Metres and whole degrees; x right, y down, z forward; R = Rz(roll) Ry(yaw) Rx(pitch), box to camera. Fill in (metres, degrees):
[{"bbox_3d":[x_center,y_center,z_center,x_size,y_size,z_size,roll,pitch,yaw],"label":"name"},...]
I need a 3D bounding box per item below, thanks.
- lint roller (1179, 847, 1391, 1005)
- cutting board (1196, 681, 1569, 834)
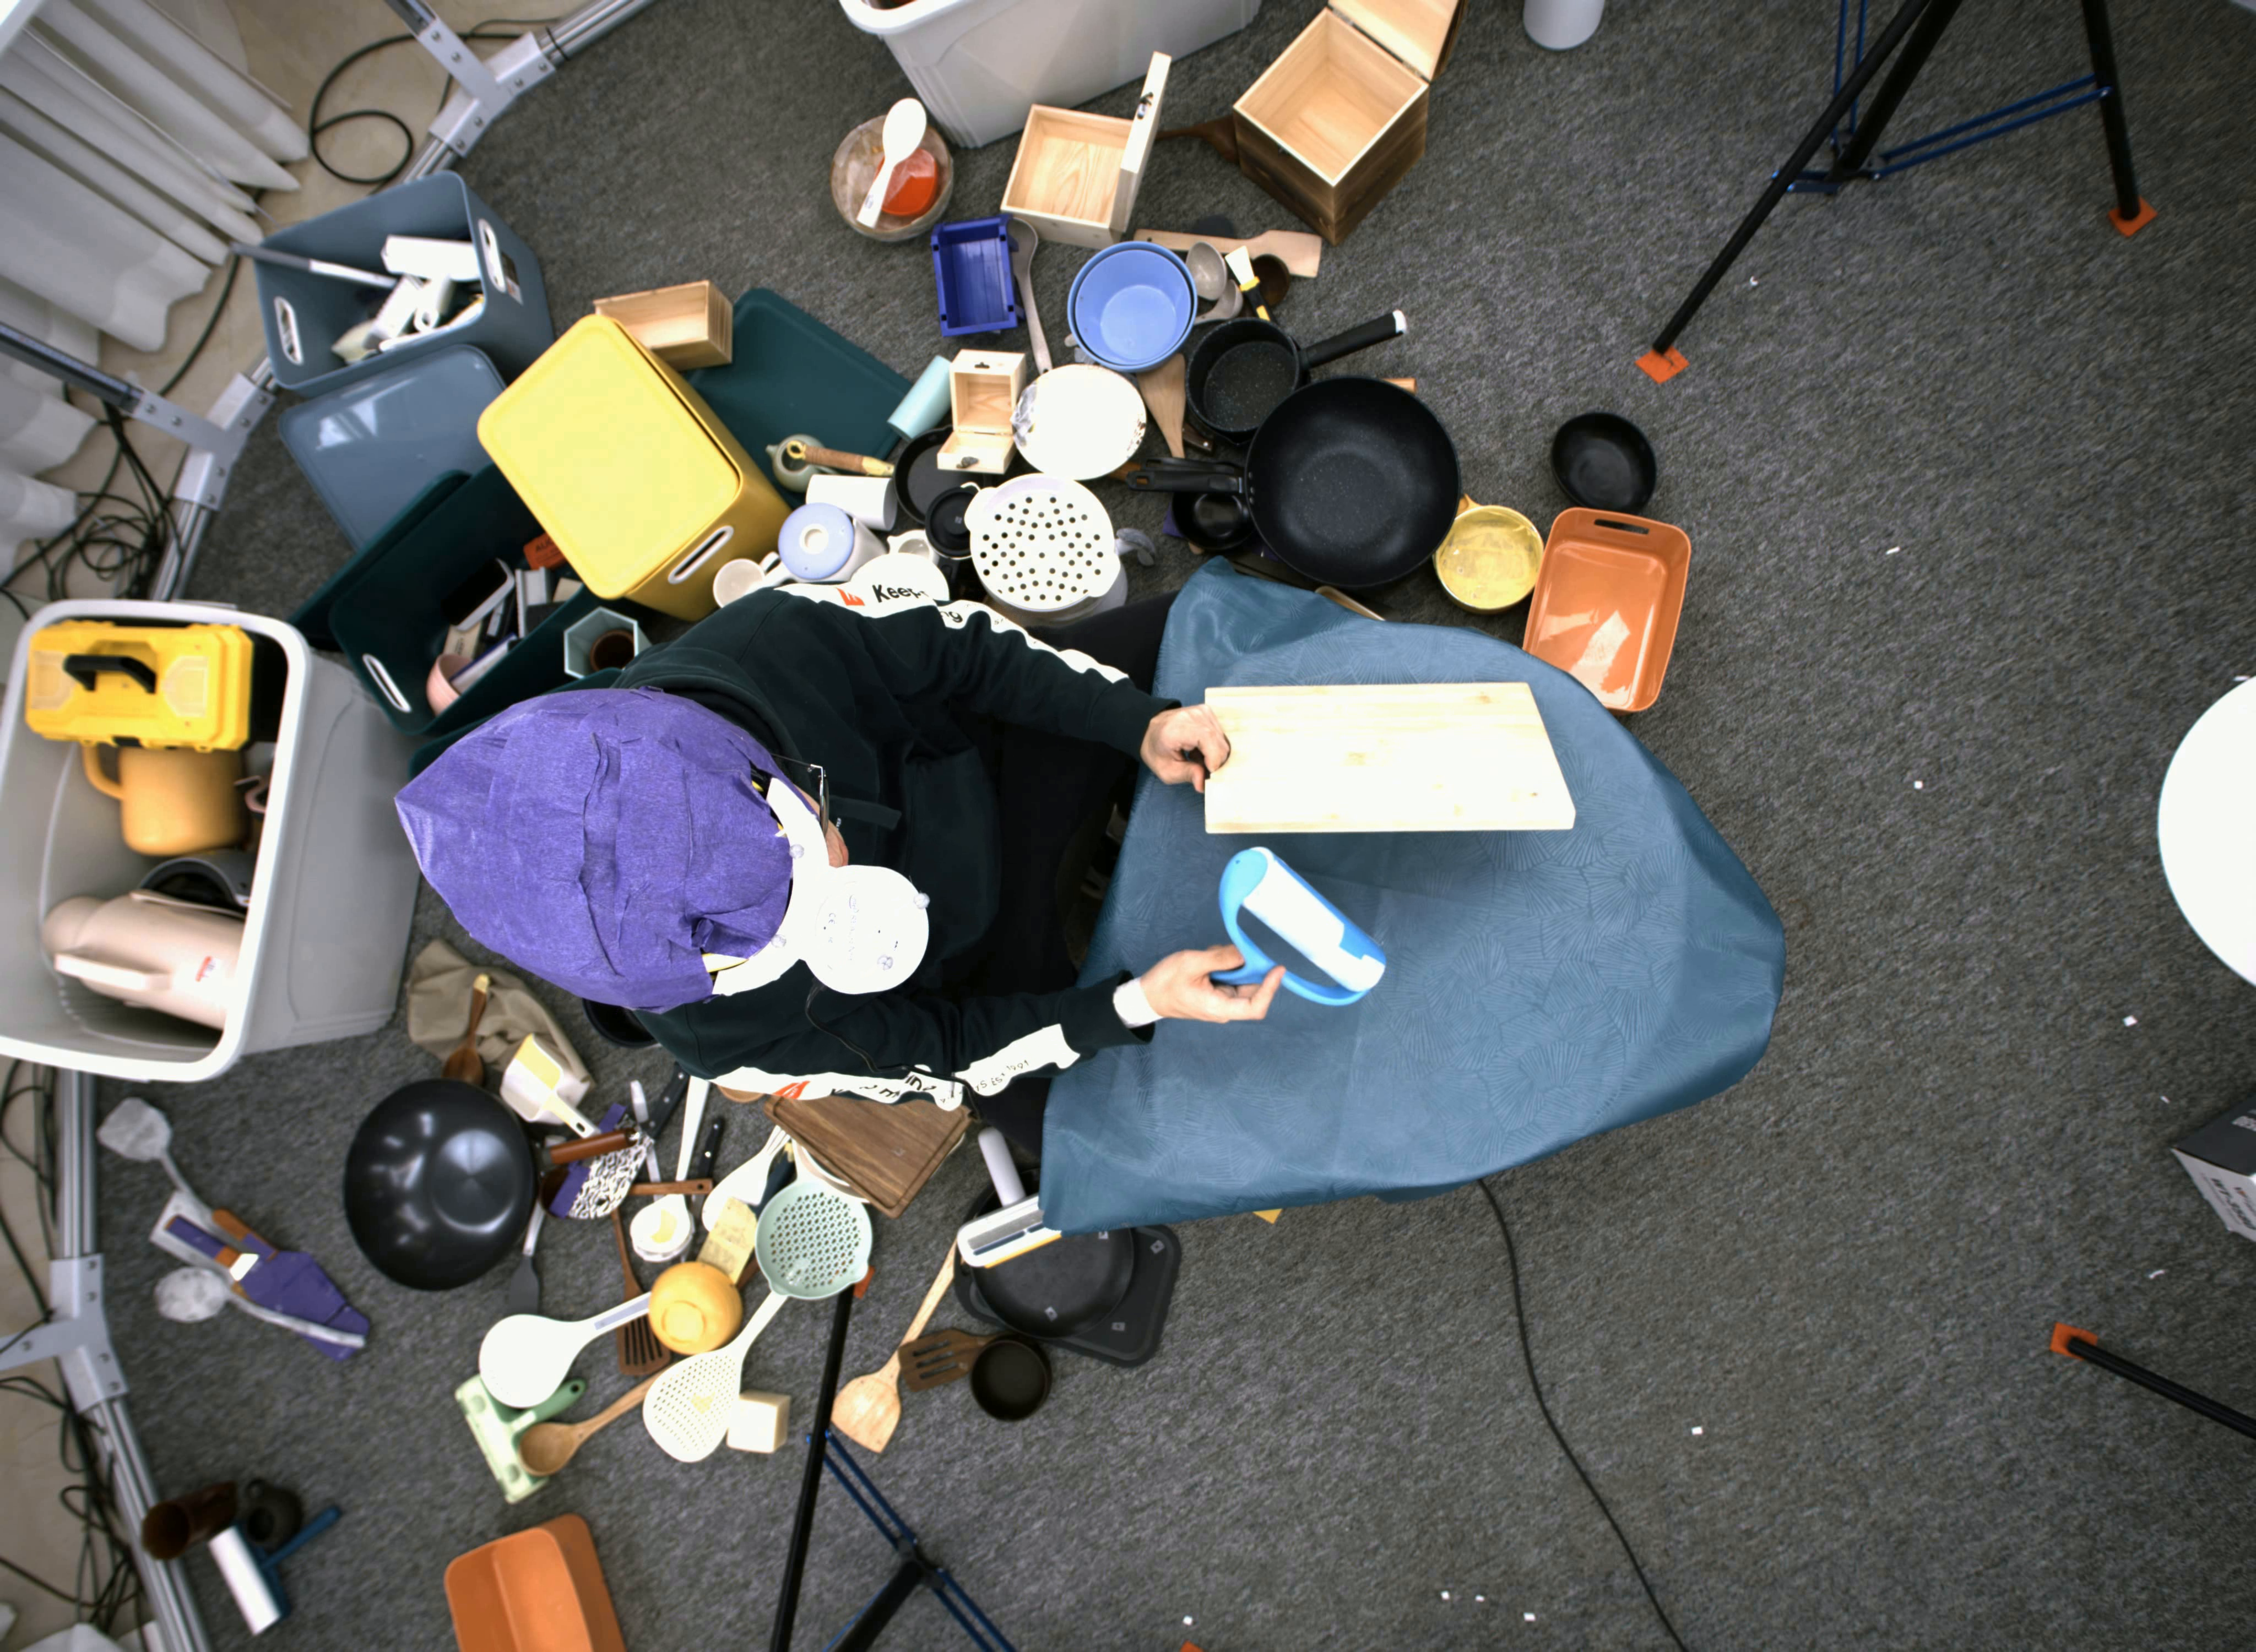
[{"bbox_3d":[0.126,0.117,1.311,0.183,0.231,0.066,-32,43,29],"label":"lint roller"},{"bbox_3d":[0.241,-0.073,1.357,0.349,0.244,0.024,-1,128,4],"label":"cutting board"}]
